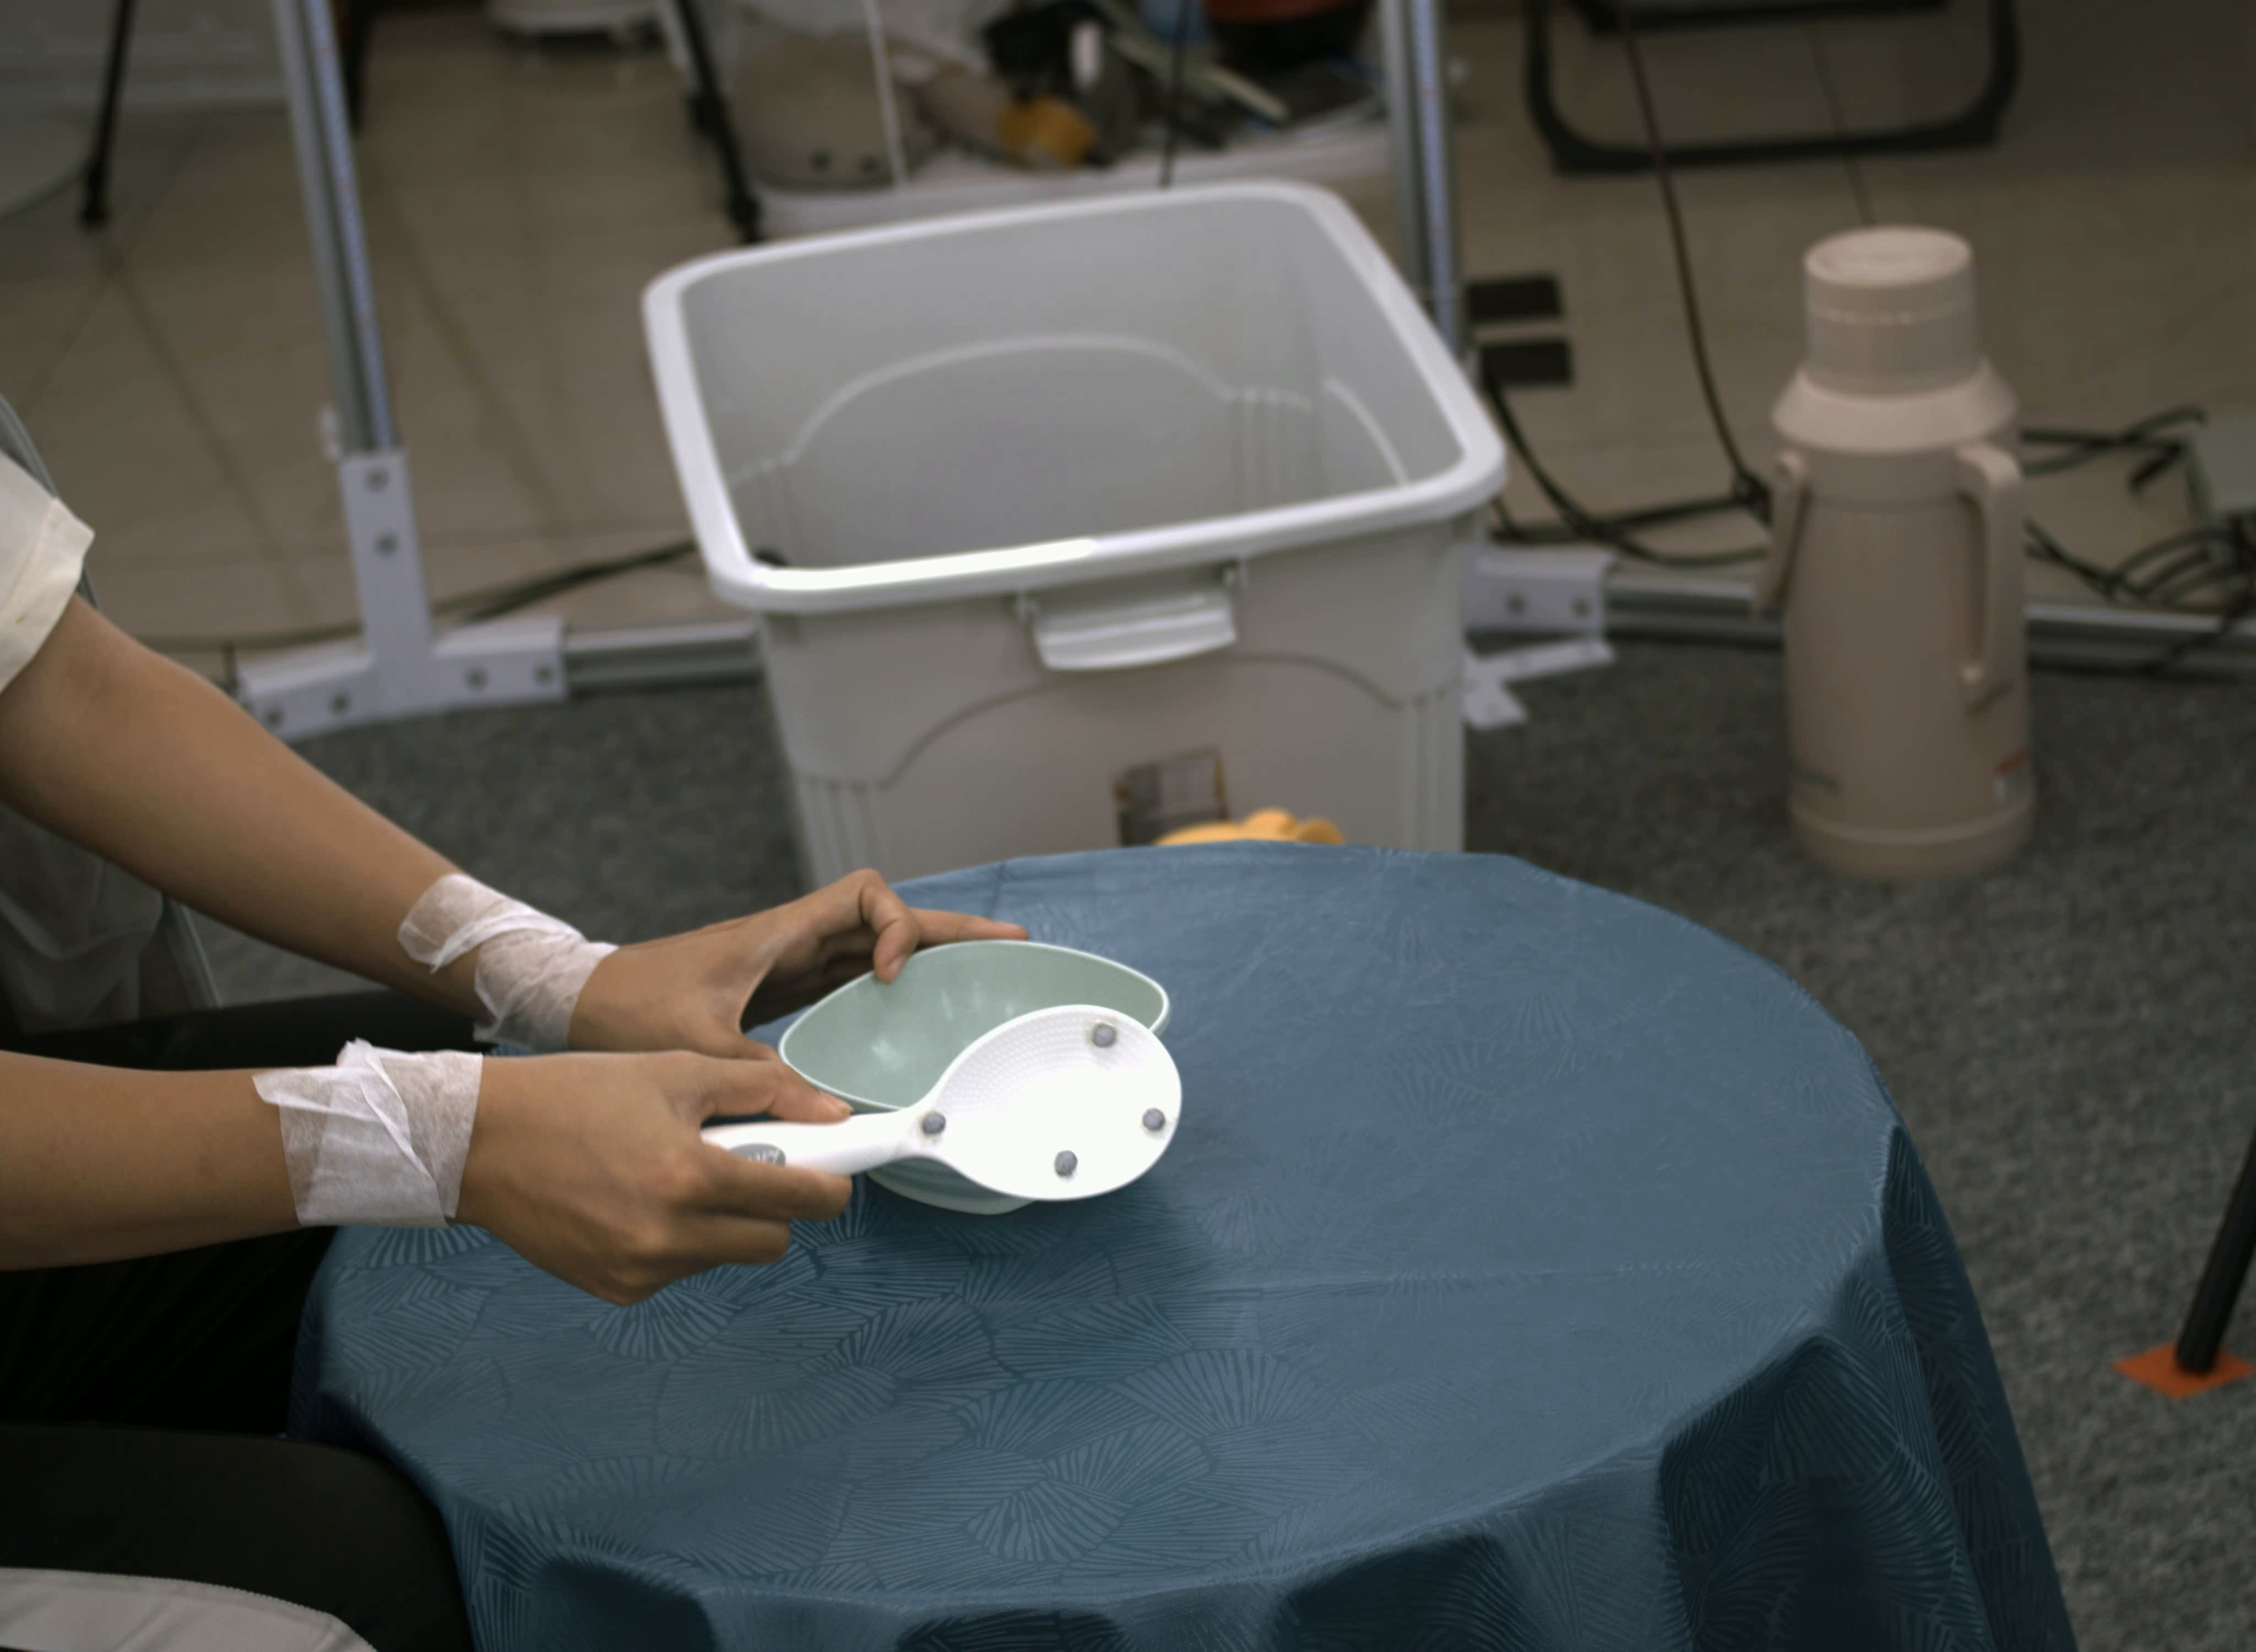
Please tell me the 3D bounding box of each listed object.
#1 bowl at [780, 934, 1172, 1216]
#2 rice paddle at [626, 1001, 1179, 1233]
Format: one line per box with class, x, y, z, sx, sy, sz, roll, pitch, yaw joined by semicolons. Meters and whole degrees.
bowl;-0.056;0.101;2.179;0.151;0.059;0.149;-5;27;2
rice paddle;-0.076;0.108;2.009;0.204;0.069;0.029;-11;3;-19
